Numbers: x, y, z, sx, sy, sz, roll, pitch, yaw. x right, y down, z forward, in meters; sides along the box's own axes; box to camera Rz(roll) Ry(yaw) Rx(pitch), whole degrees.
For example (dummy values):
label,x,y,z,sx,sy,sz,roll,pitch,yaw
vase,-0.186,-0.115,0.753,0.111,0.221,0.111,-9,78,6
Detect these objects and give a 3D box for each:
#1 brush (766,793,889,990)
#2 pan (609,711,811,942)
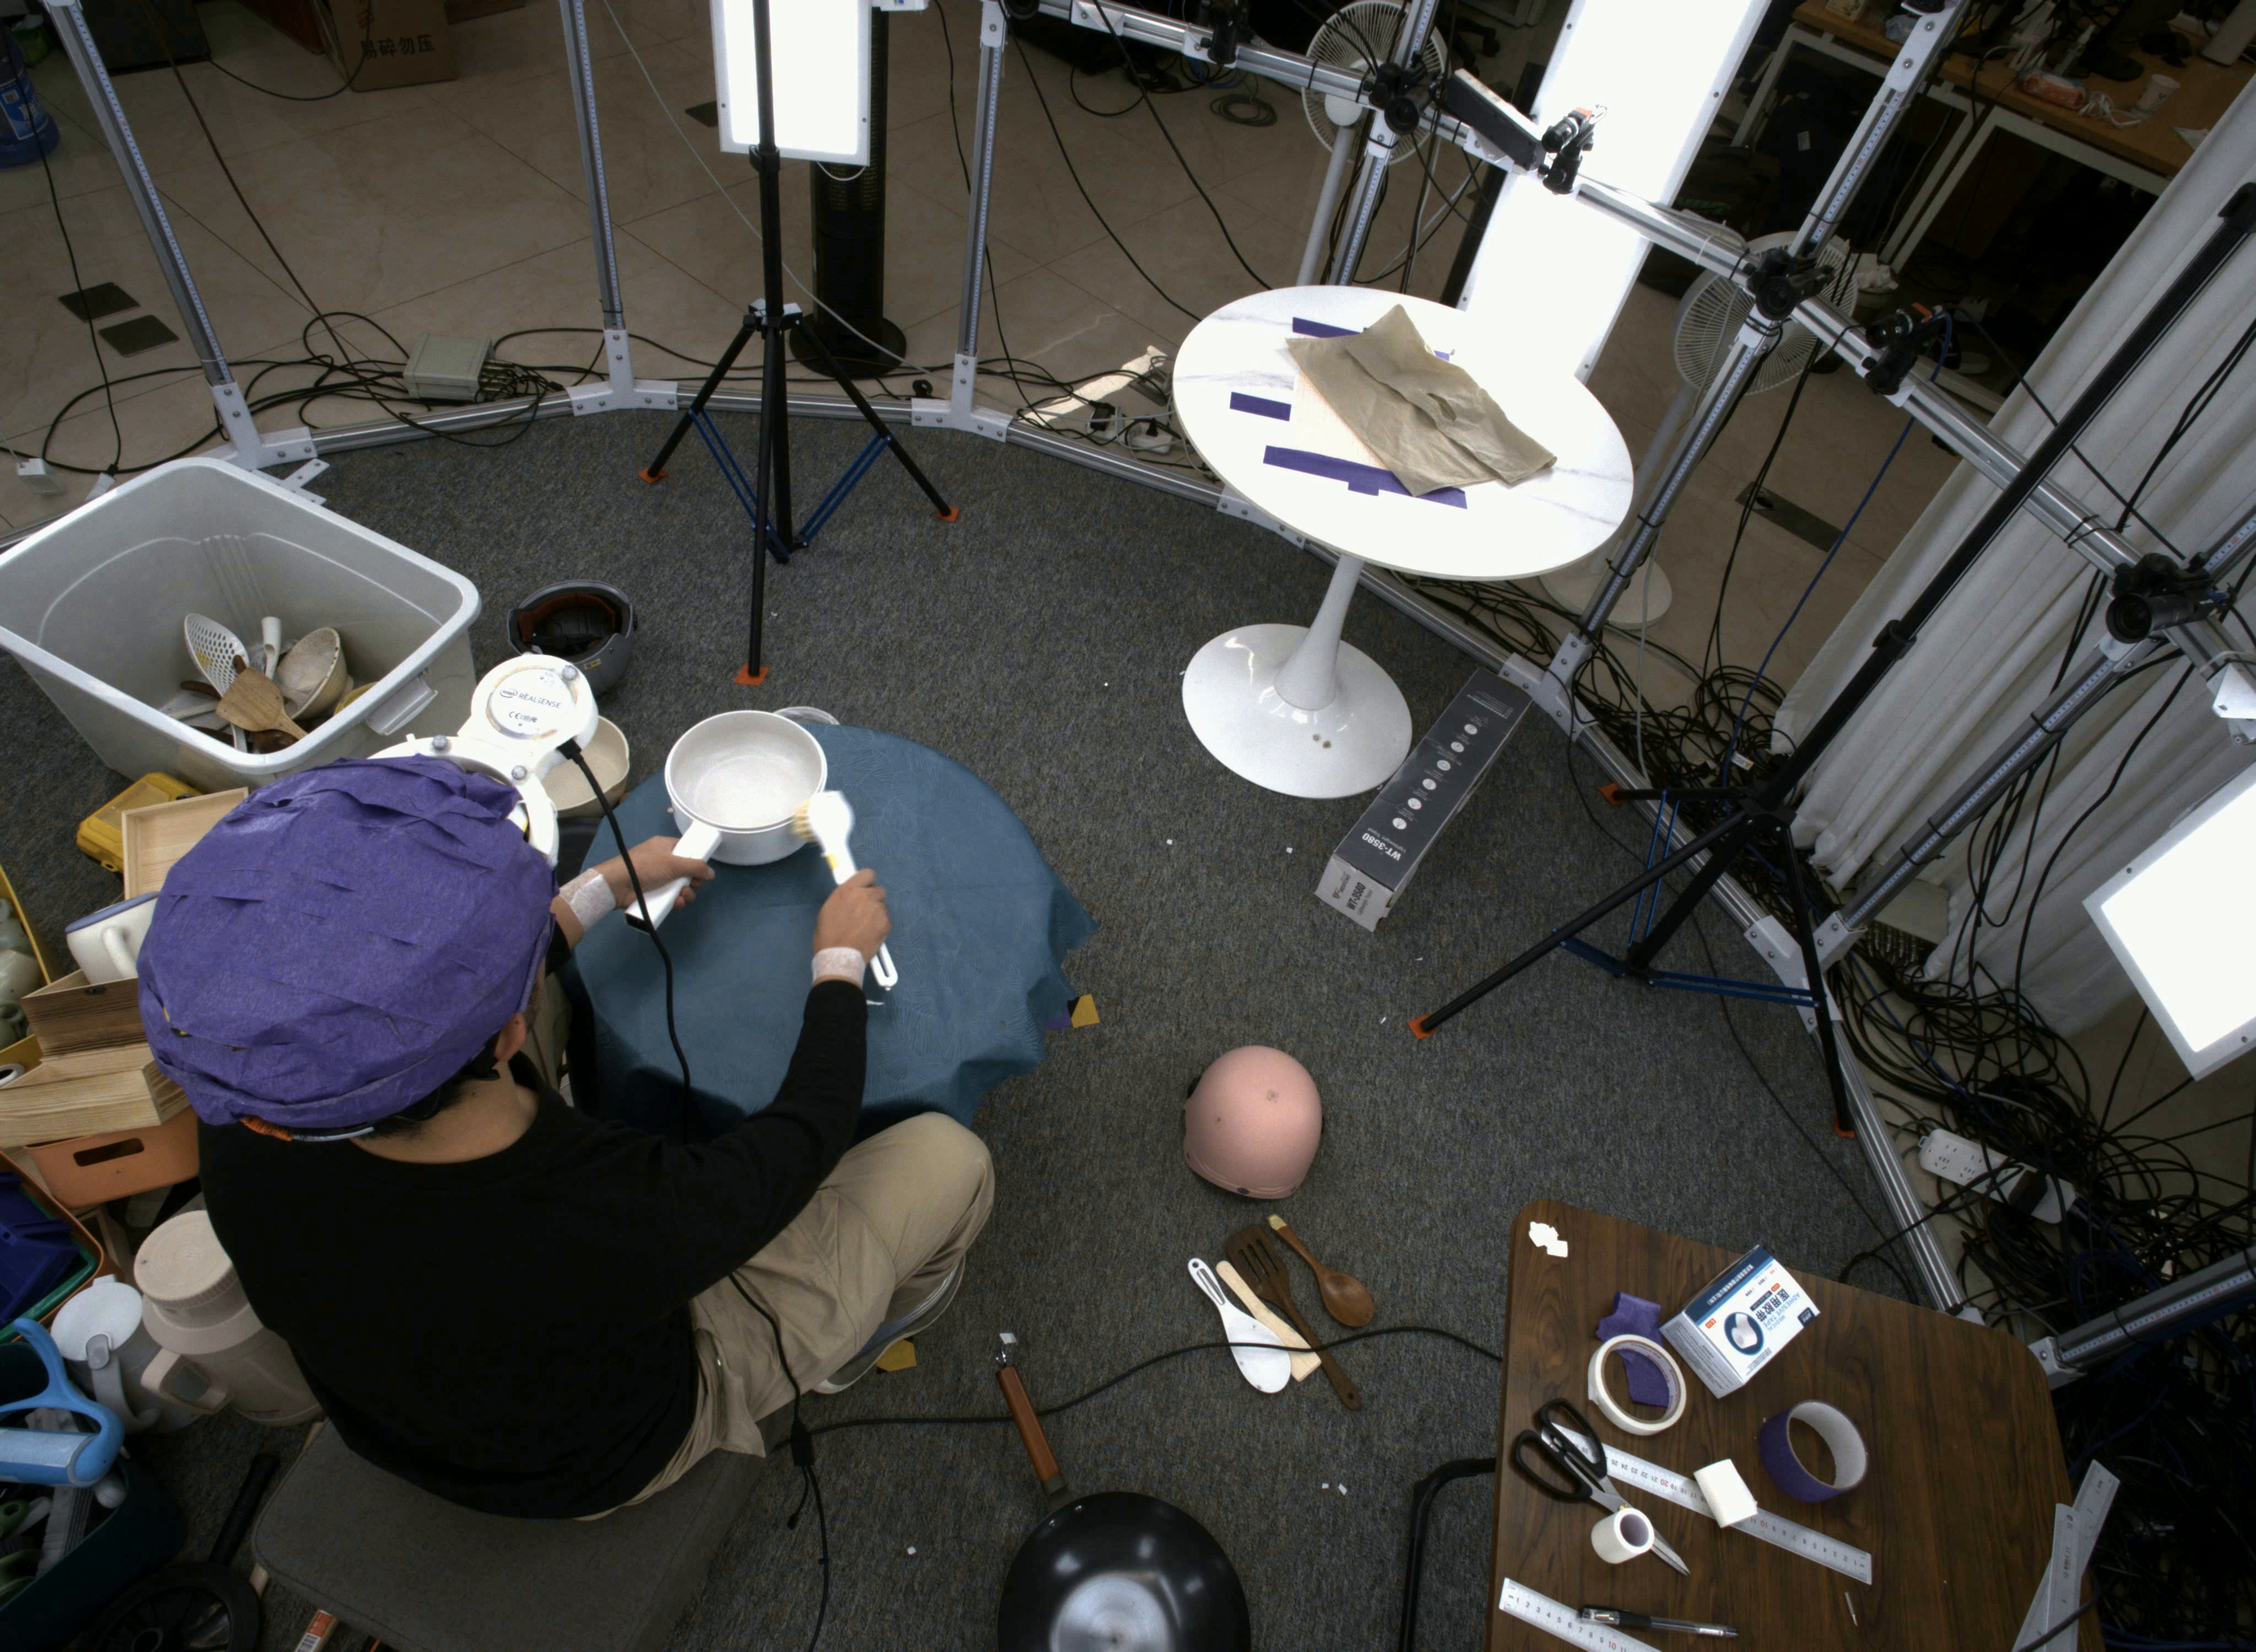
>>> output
label,x,y,z,sx,sy,sz,roll,pitch,yaw
brush,-0.363,0.084,1.579,0.069,0.056,0.266,-21,82,-37
pan,-0.533,0.014,1.618,0.199,0.104,0.351,22,52,2
